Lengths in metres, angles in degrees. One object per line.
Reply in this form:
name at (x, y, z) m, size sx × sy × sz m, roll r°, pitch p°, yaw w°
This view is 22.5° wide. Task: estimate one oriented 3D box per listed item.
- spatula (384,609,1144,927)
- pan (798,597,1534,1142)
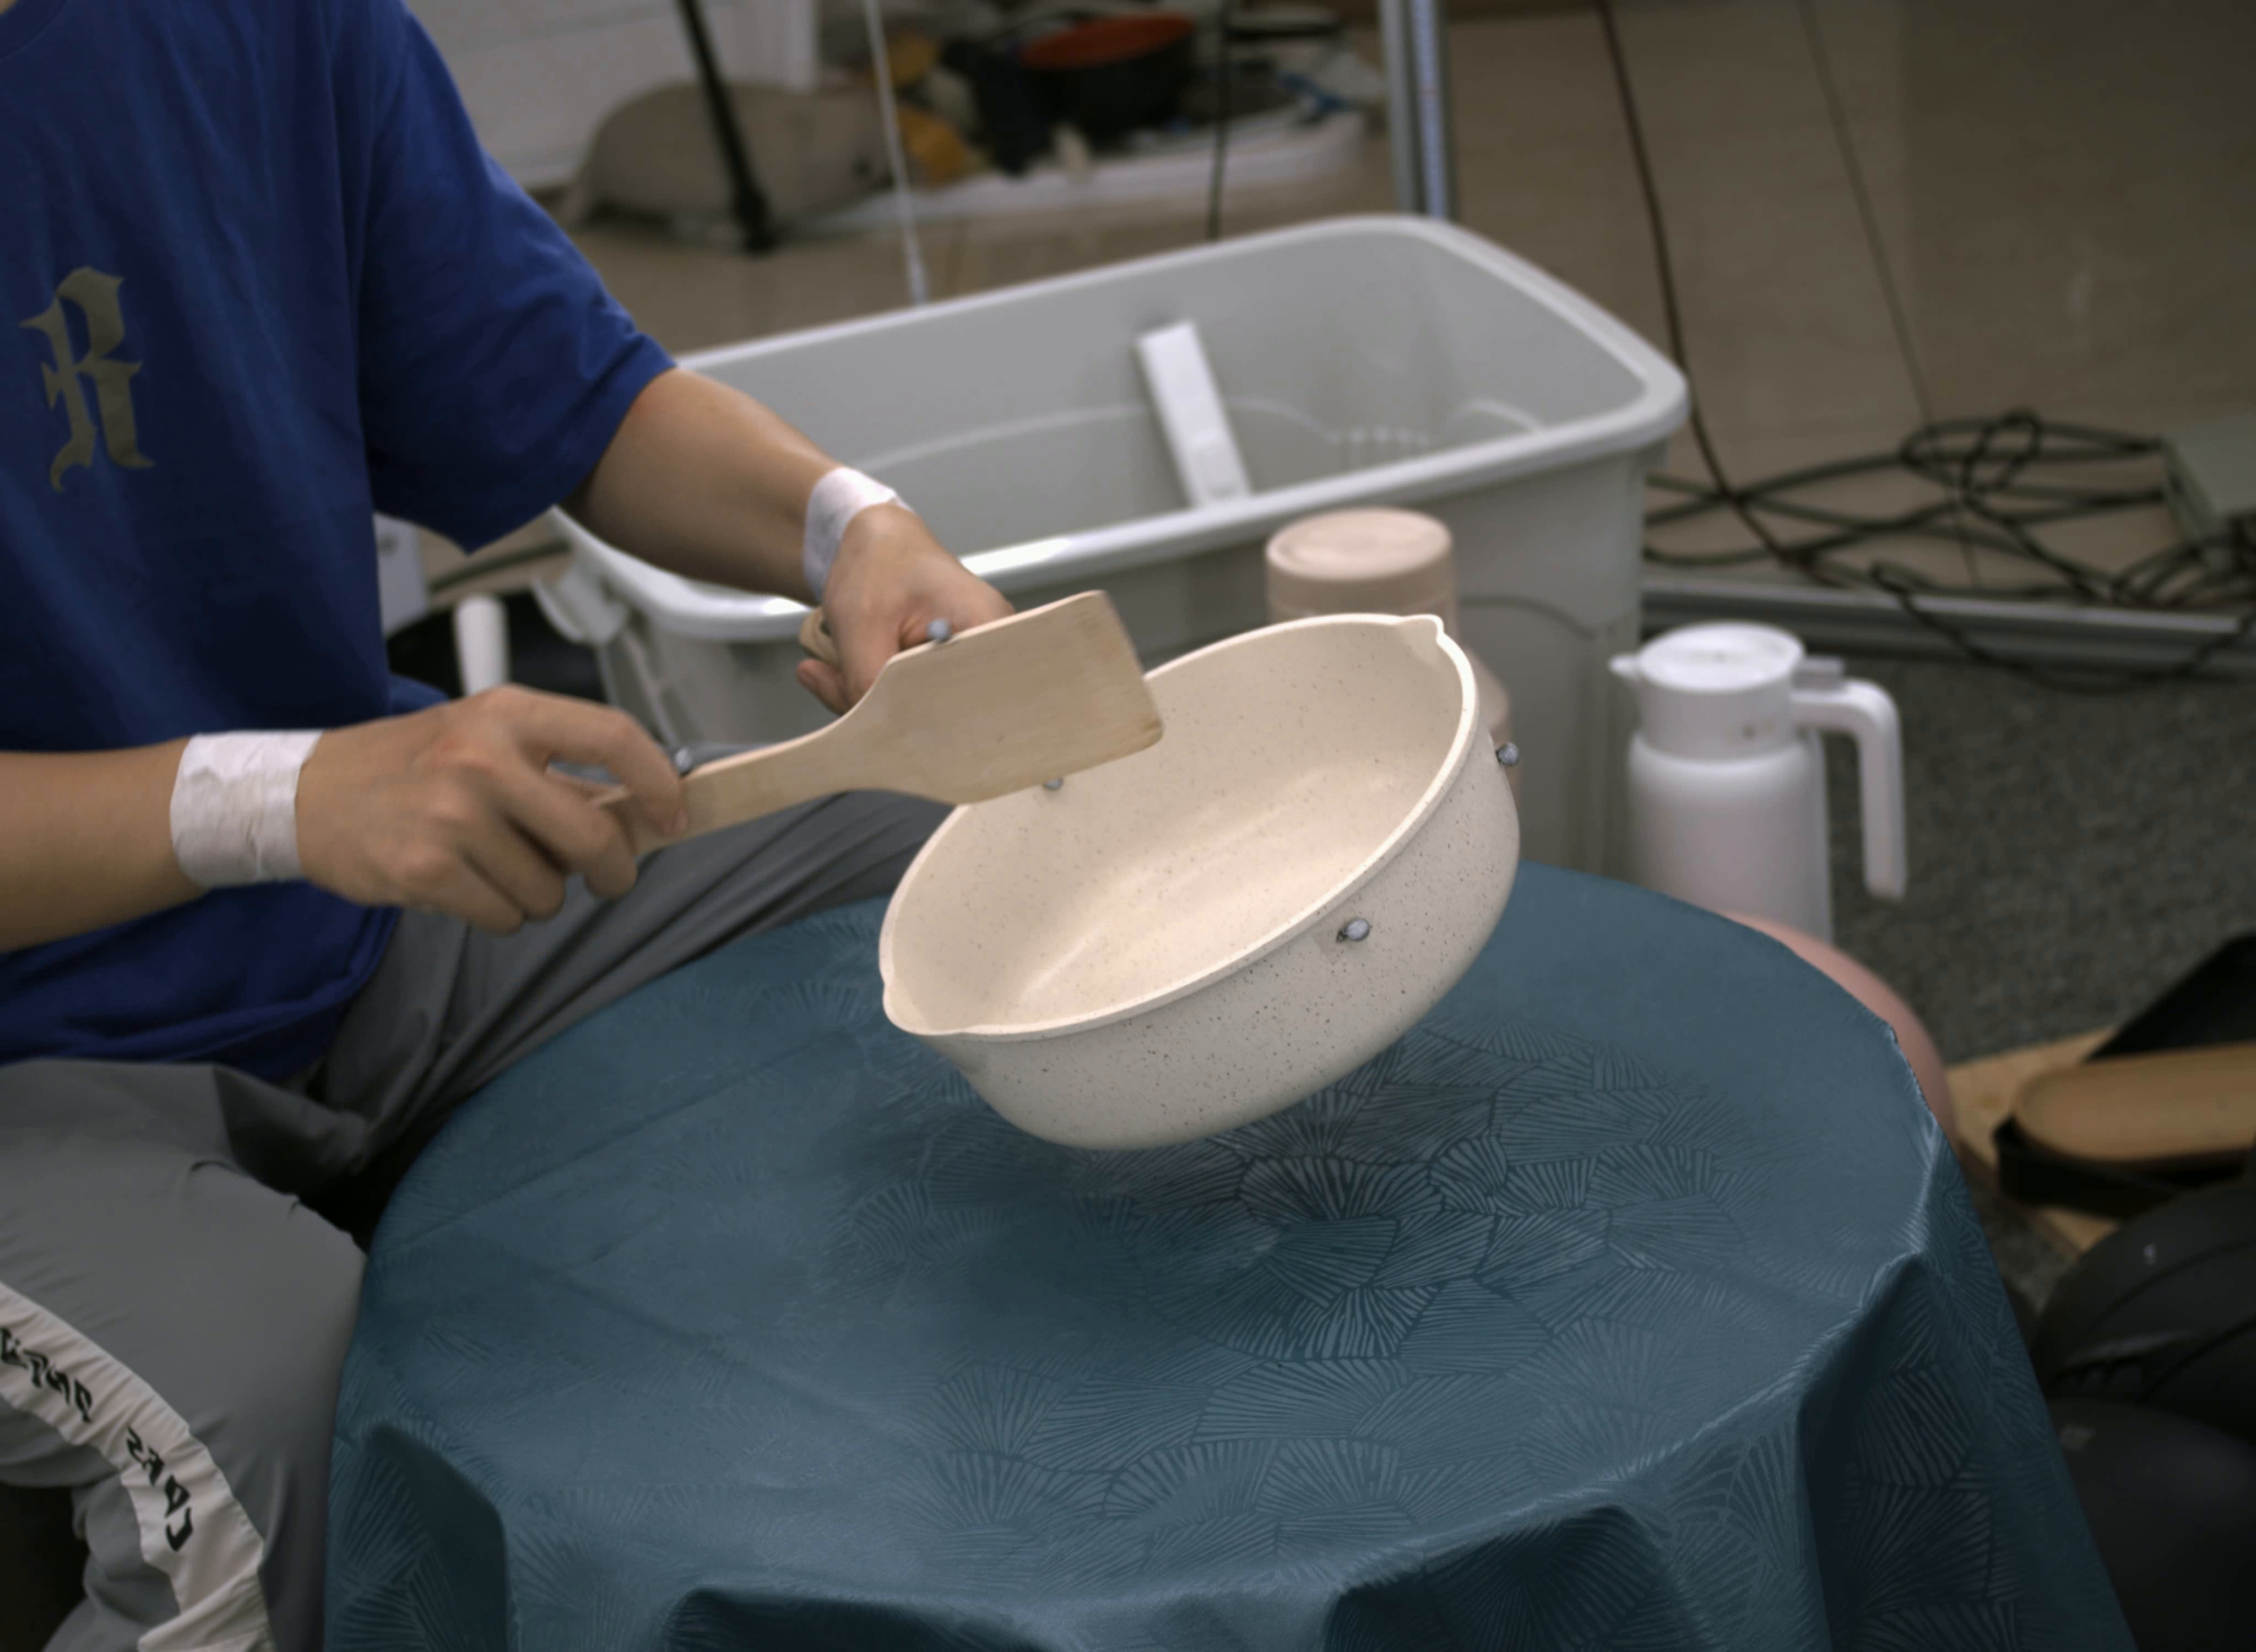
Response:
spatula at (-0.140, -0.012, 2.077) m, size 0.293 × 0.073 × 0.010 m, roll -17°, pitch 34°, yaw 15°
pan at (-0.006, -0.001, 2.219) m, size 0.262 × 0.103 × 0.431 m, roll -40°, pitch 27°, yaw -14°
